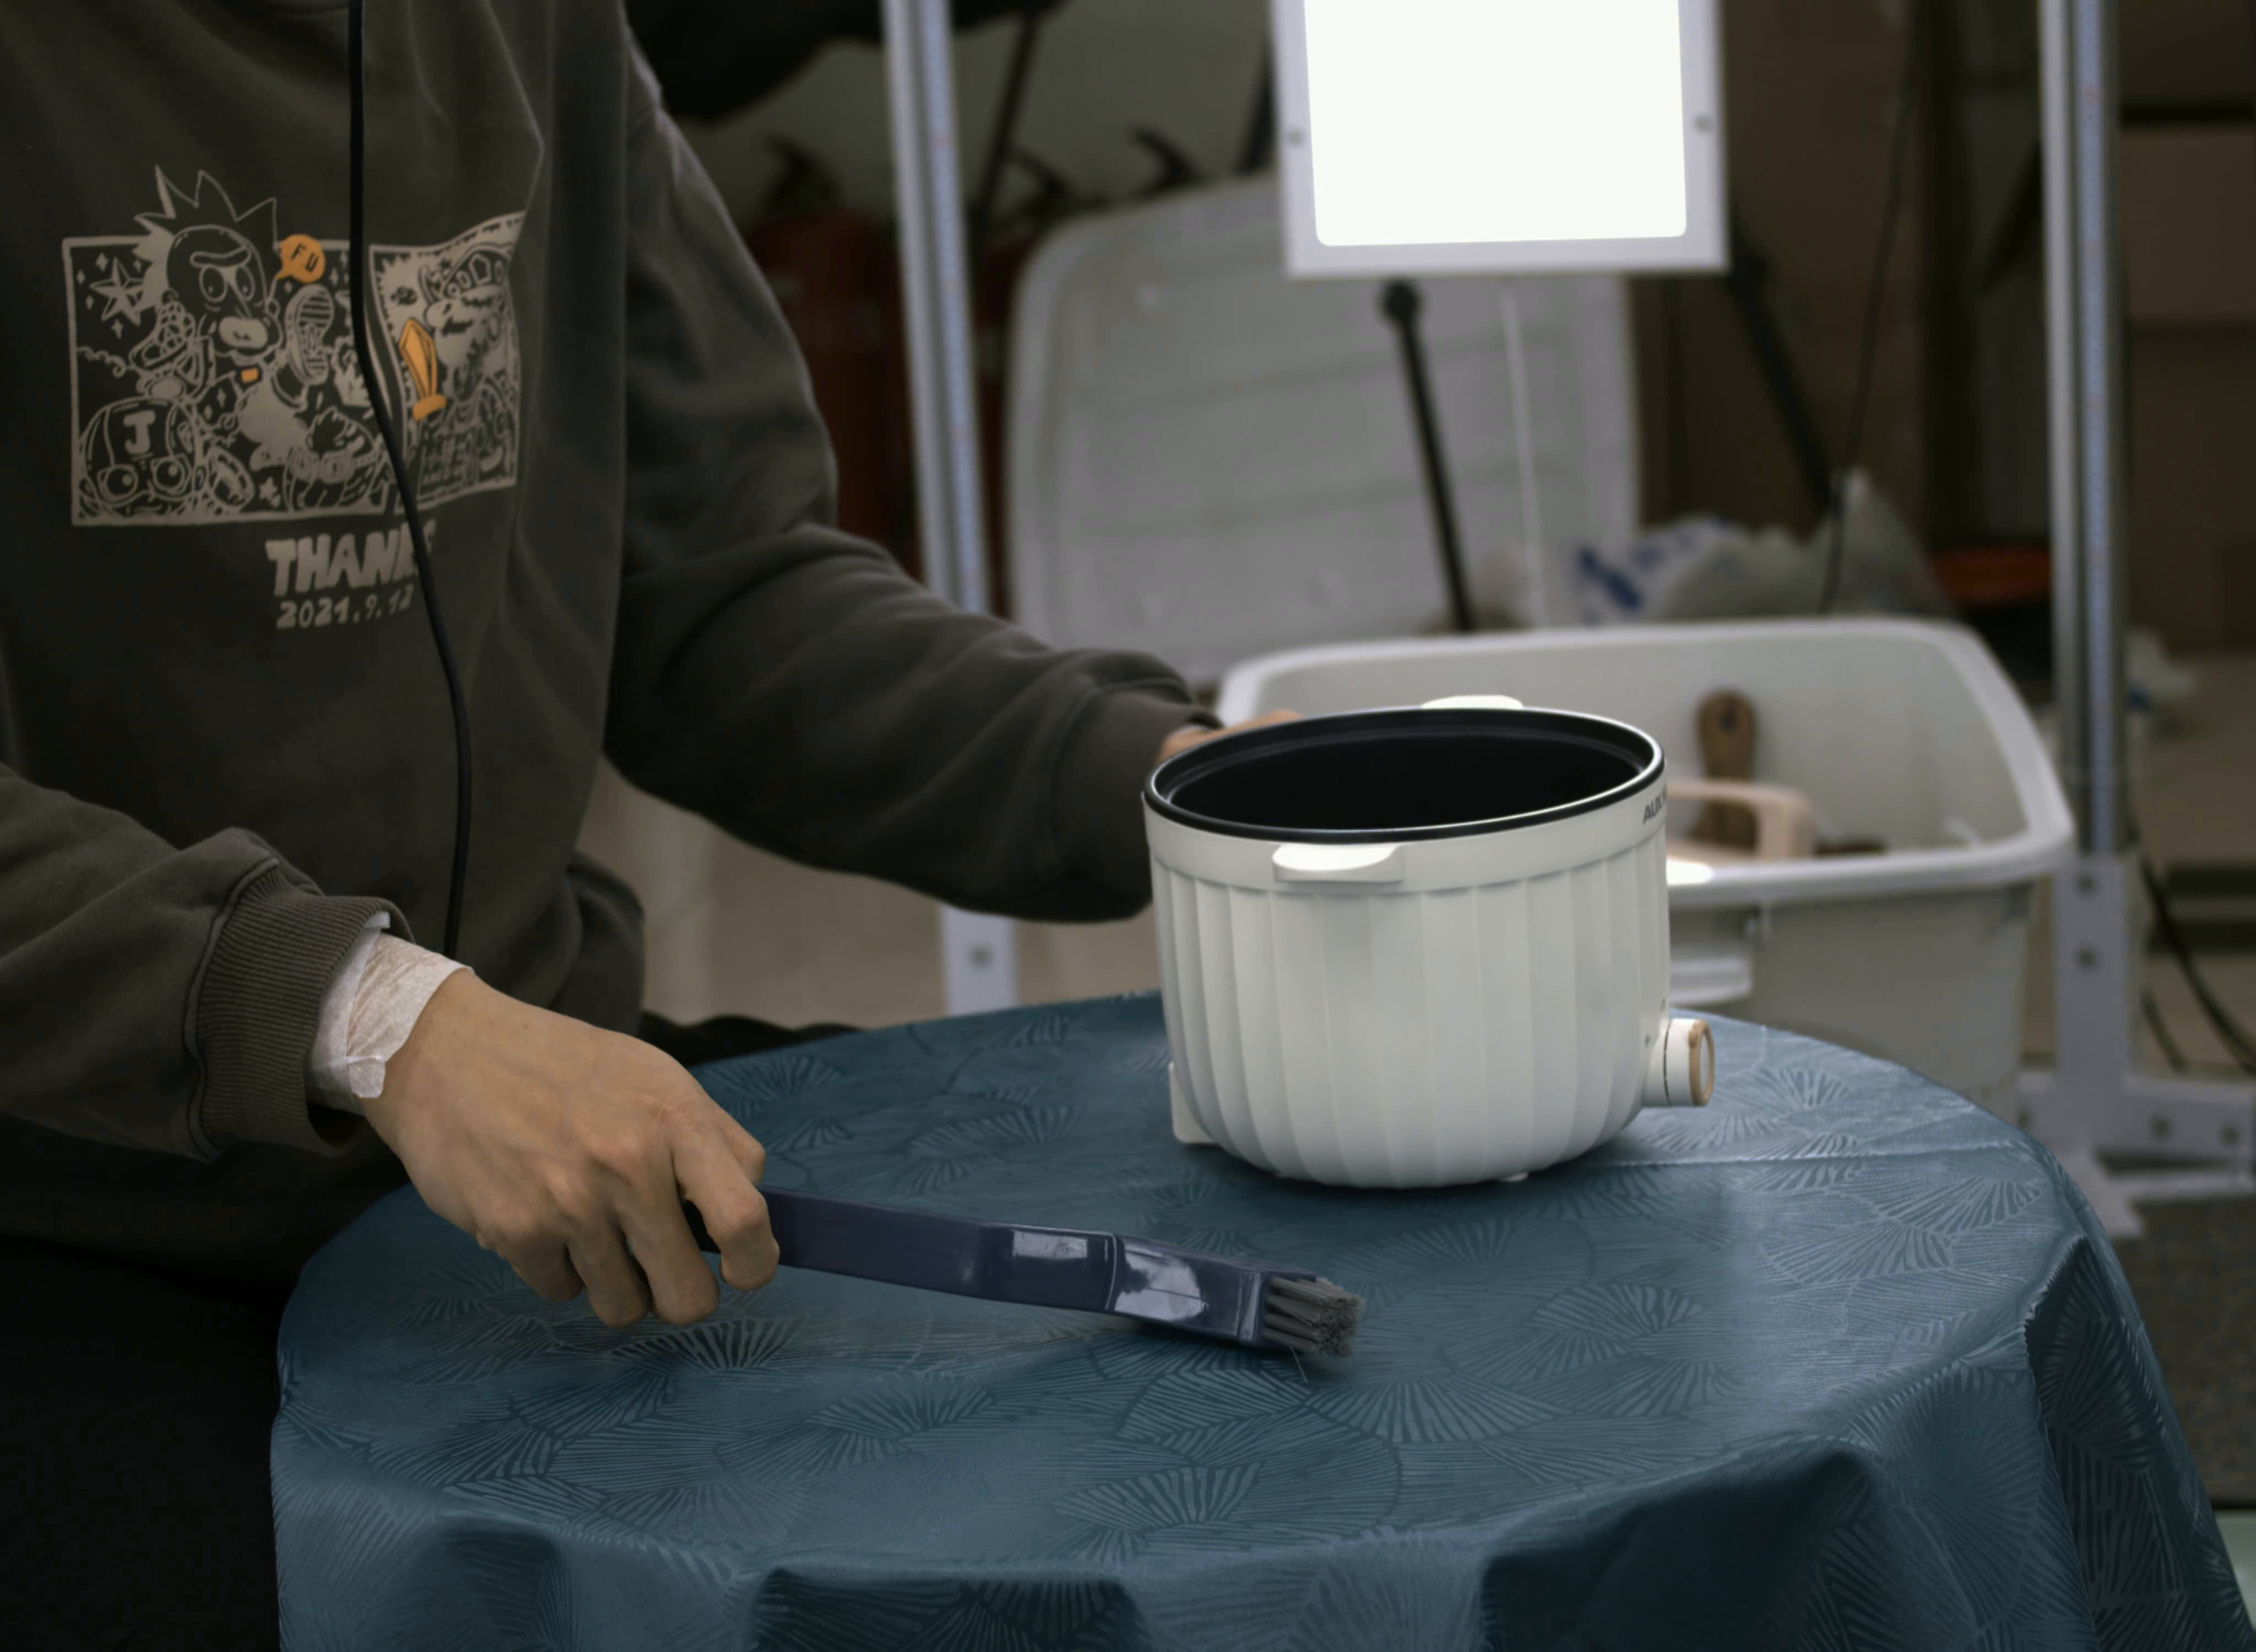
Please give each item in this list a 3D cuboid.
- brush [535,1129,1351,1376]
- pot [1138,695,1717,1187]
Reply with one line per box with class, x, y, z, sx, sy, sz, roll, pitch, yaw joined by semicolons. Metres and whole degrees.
brush;-0.063;0.135;1.749;0.274;0.033;0.095;8;4;10
pot;0.105;0.042;1.908;0.193;0.143;0.236;-4;15;18
